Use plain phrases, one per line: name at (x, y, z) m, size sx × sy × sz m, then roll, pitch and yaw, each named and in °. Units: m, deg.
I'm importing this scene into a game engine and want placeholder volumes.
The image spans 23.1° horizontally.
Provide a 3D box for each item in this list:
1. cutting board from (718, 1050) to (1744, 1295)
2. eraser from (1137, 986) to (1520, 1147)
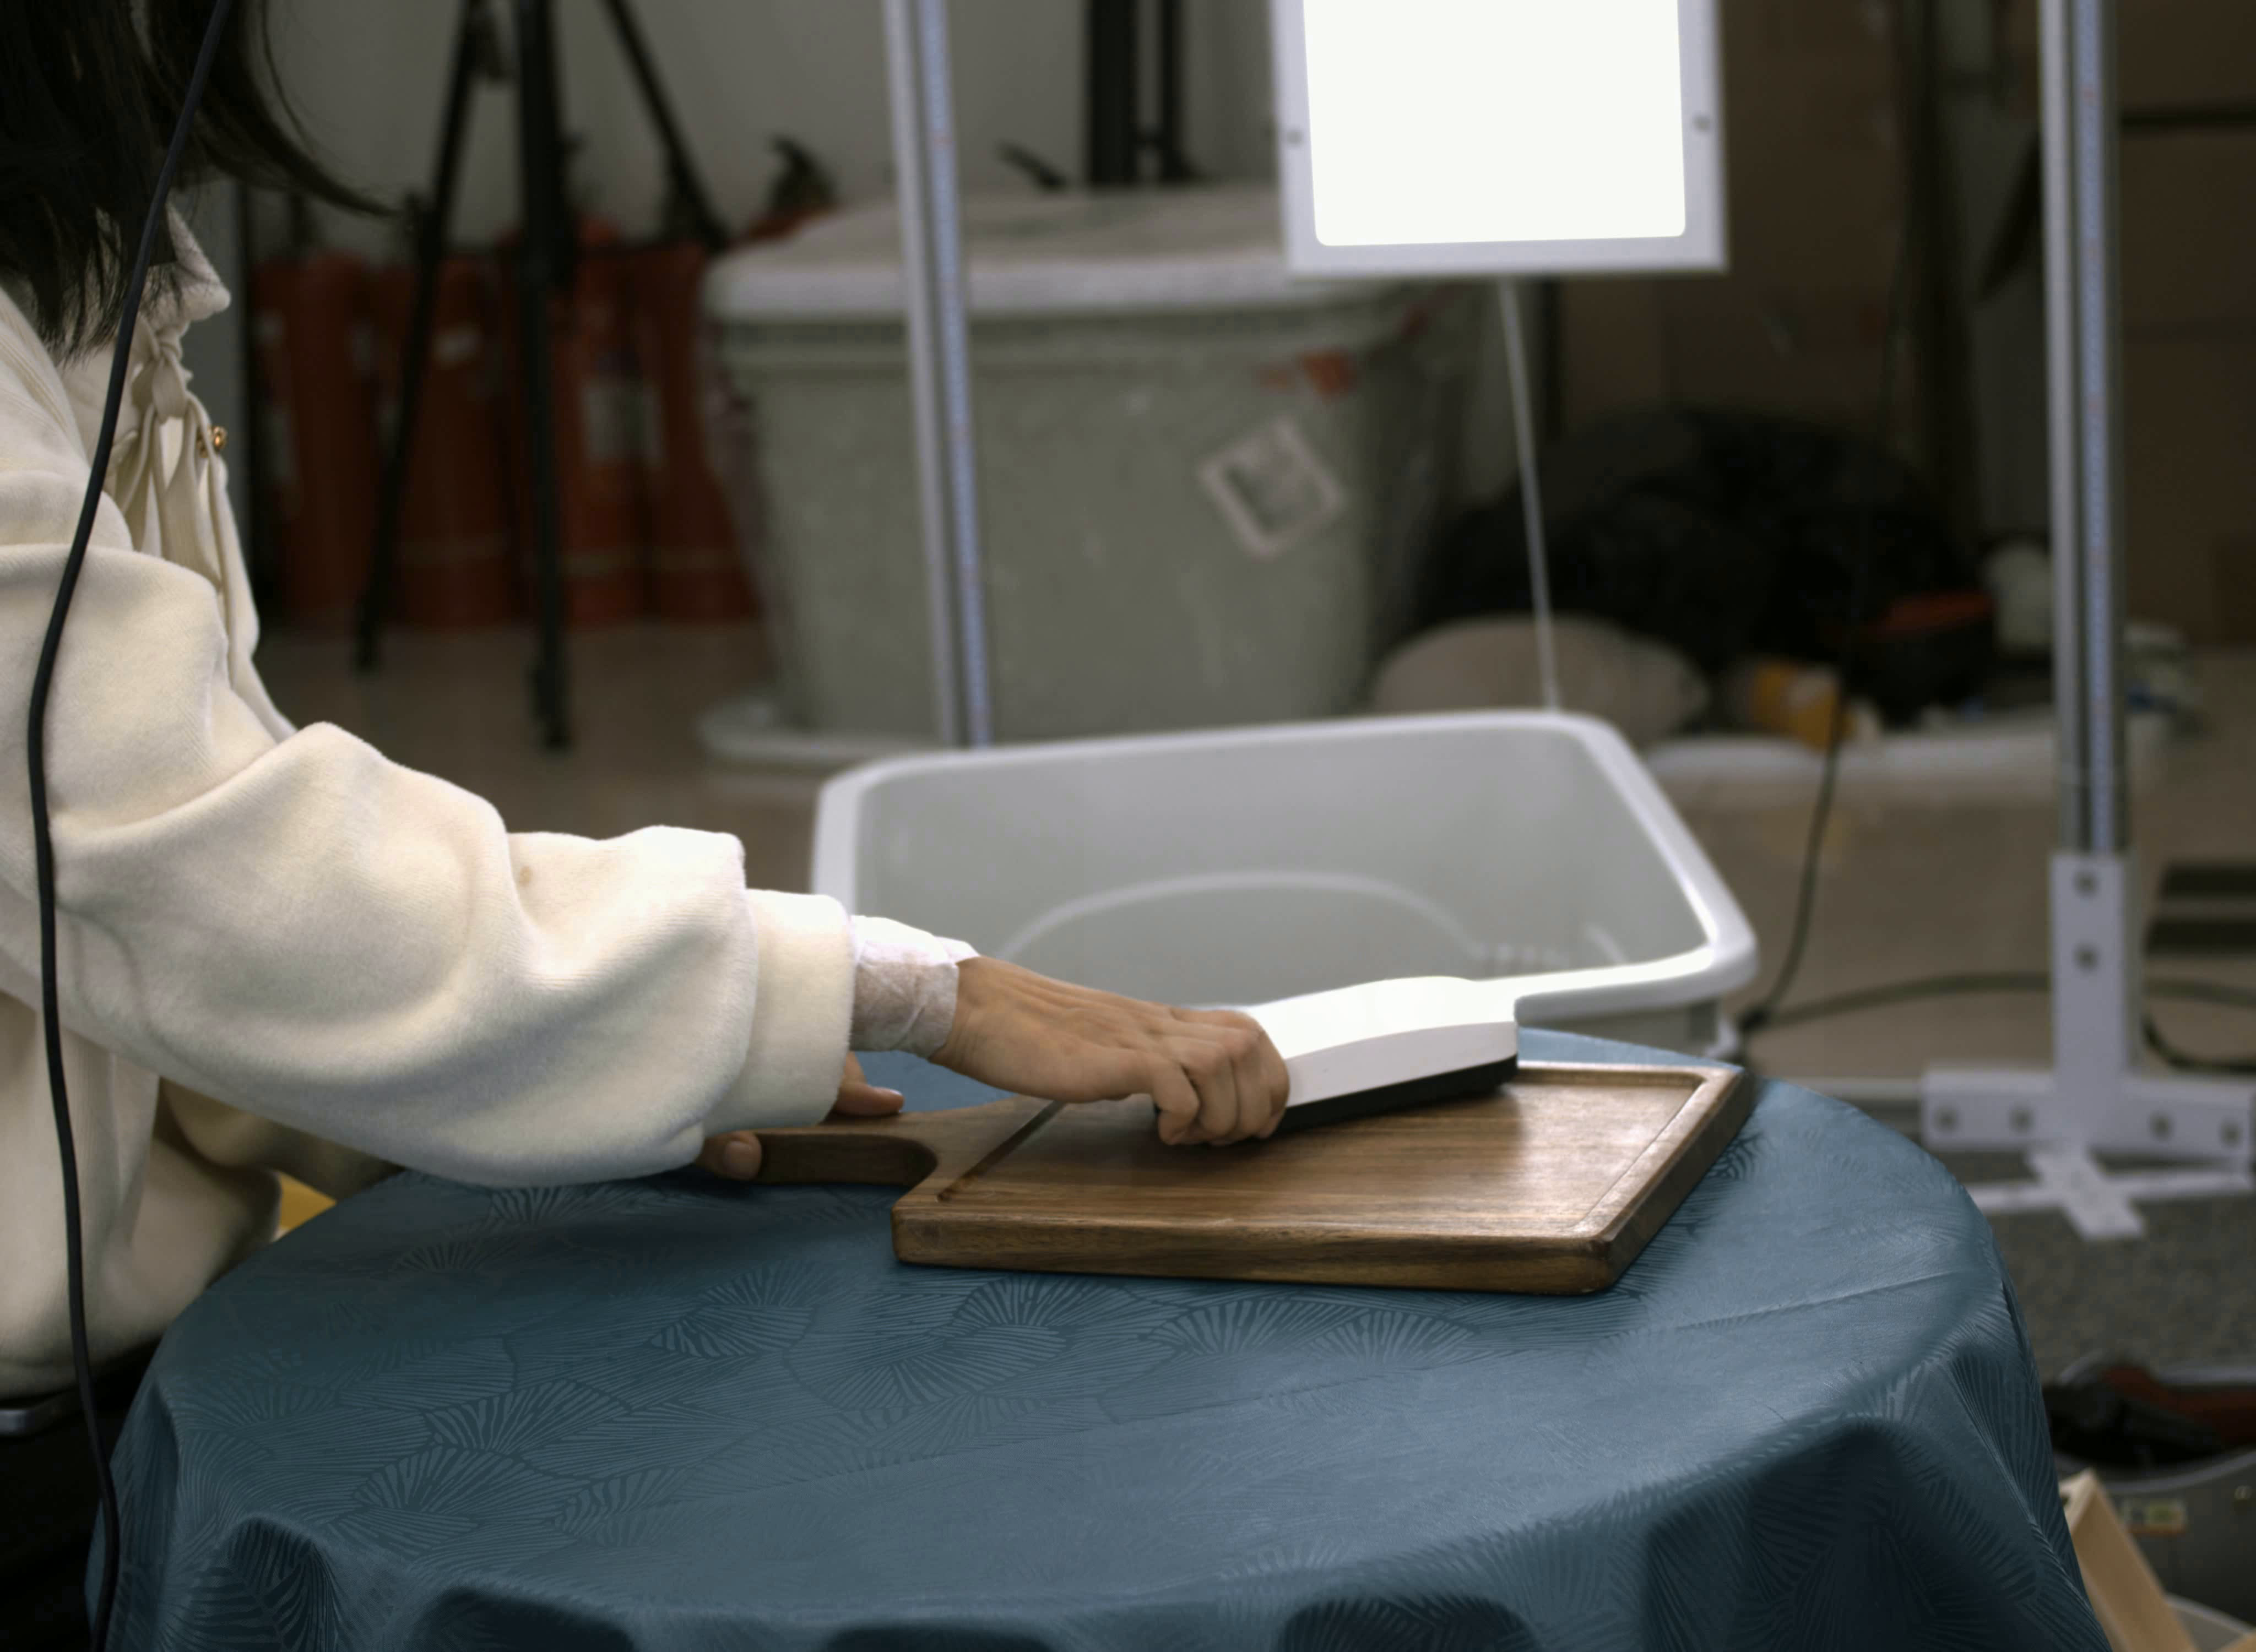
cutting board at (0.022, 0.114, 1.895) m, size 0.357 × 0.023 × 0.197 m, roll 1°, pitch 14°, yaw 22°
eraser at (0.071, 0.080, 1.923) m, size 0.129 × 0.034 × 0.064 m, roll -10°, pitch 15°, yaw -13°
